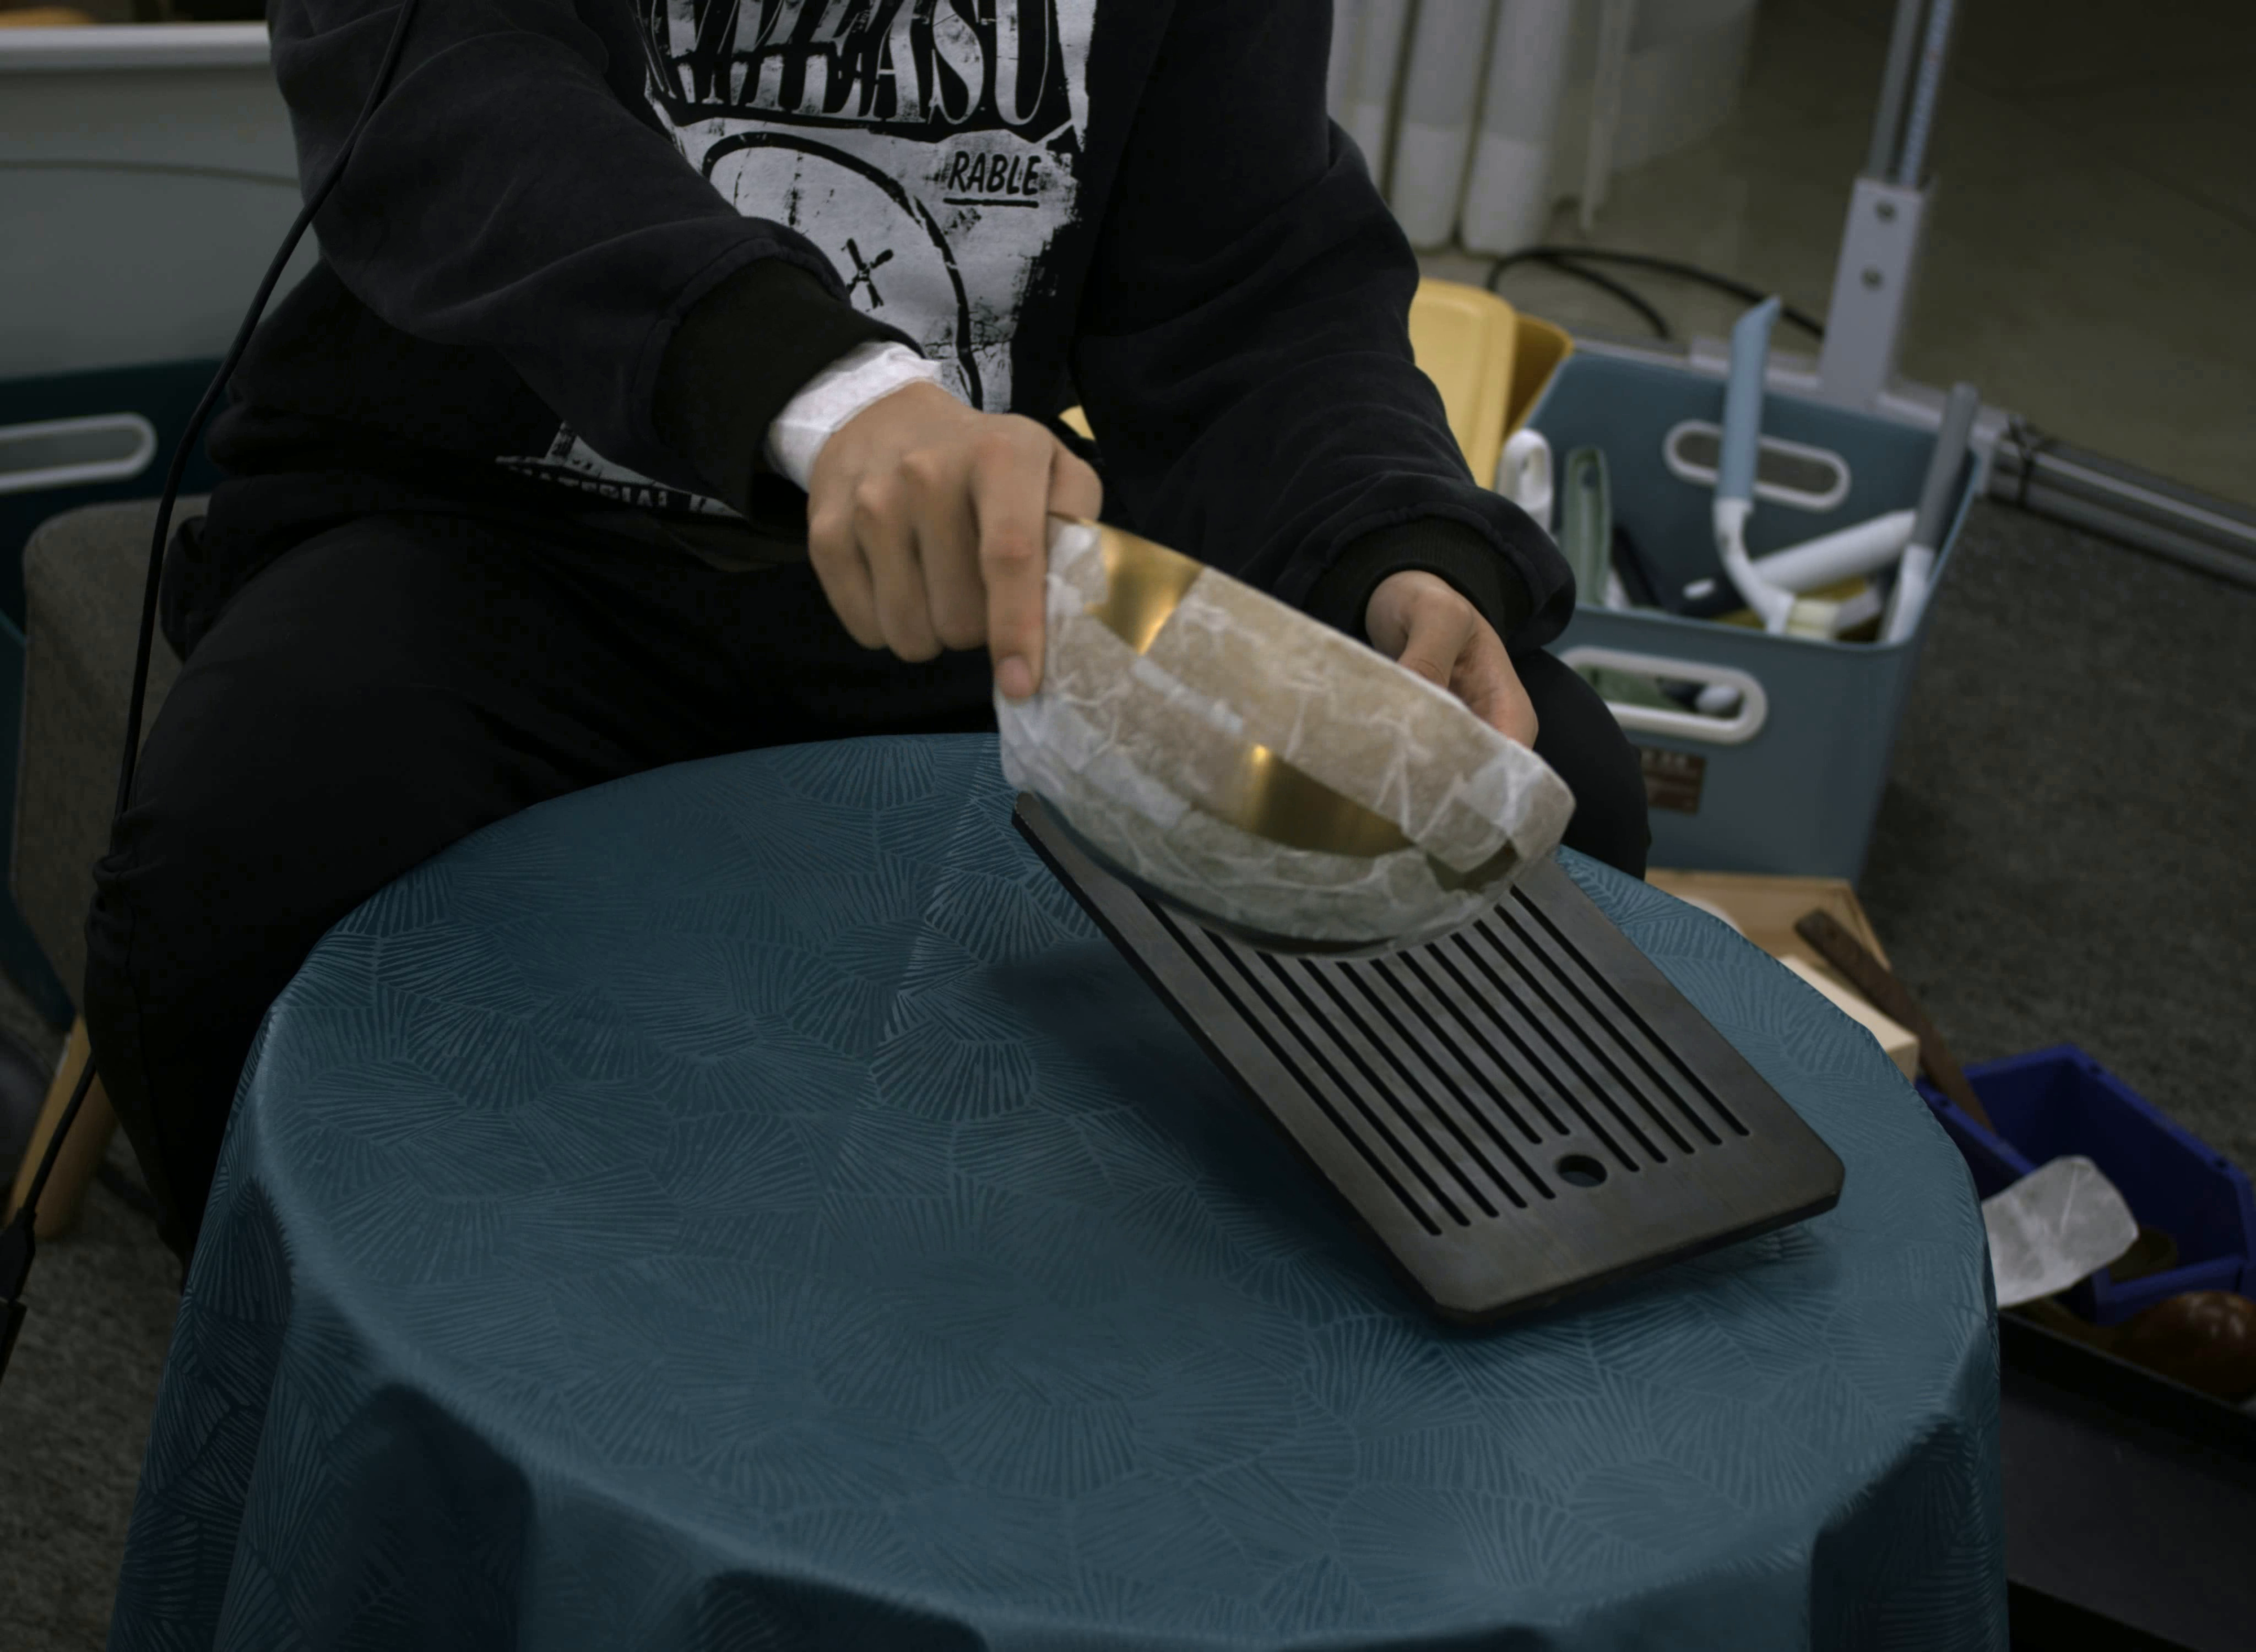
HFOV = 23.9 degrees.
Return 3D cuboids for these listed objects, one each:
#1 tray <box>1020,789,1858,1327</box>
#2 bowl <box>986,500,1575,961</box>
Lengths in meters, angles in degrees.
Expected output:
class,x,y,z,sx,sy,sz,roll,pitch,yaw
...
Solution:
class,x,y,z,sx,sy,sz,roll,pitch,yaw
tray,0.104,0.061,1.867,0.169,0.018,0.309,-15,42,-27
bowl,0.034,-0.015,1.717,0.214,0.095,0.214,27,-5,2
